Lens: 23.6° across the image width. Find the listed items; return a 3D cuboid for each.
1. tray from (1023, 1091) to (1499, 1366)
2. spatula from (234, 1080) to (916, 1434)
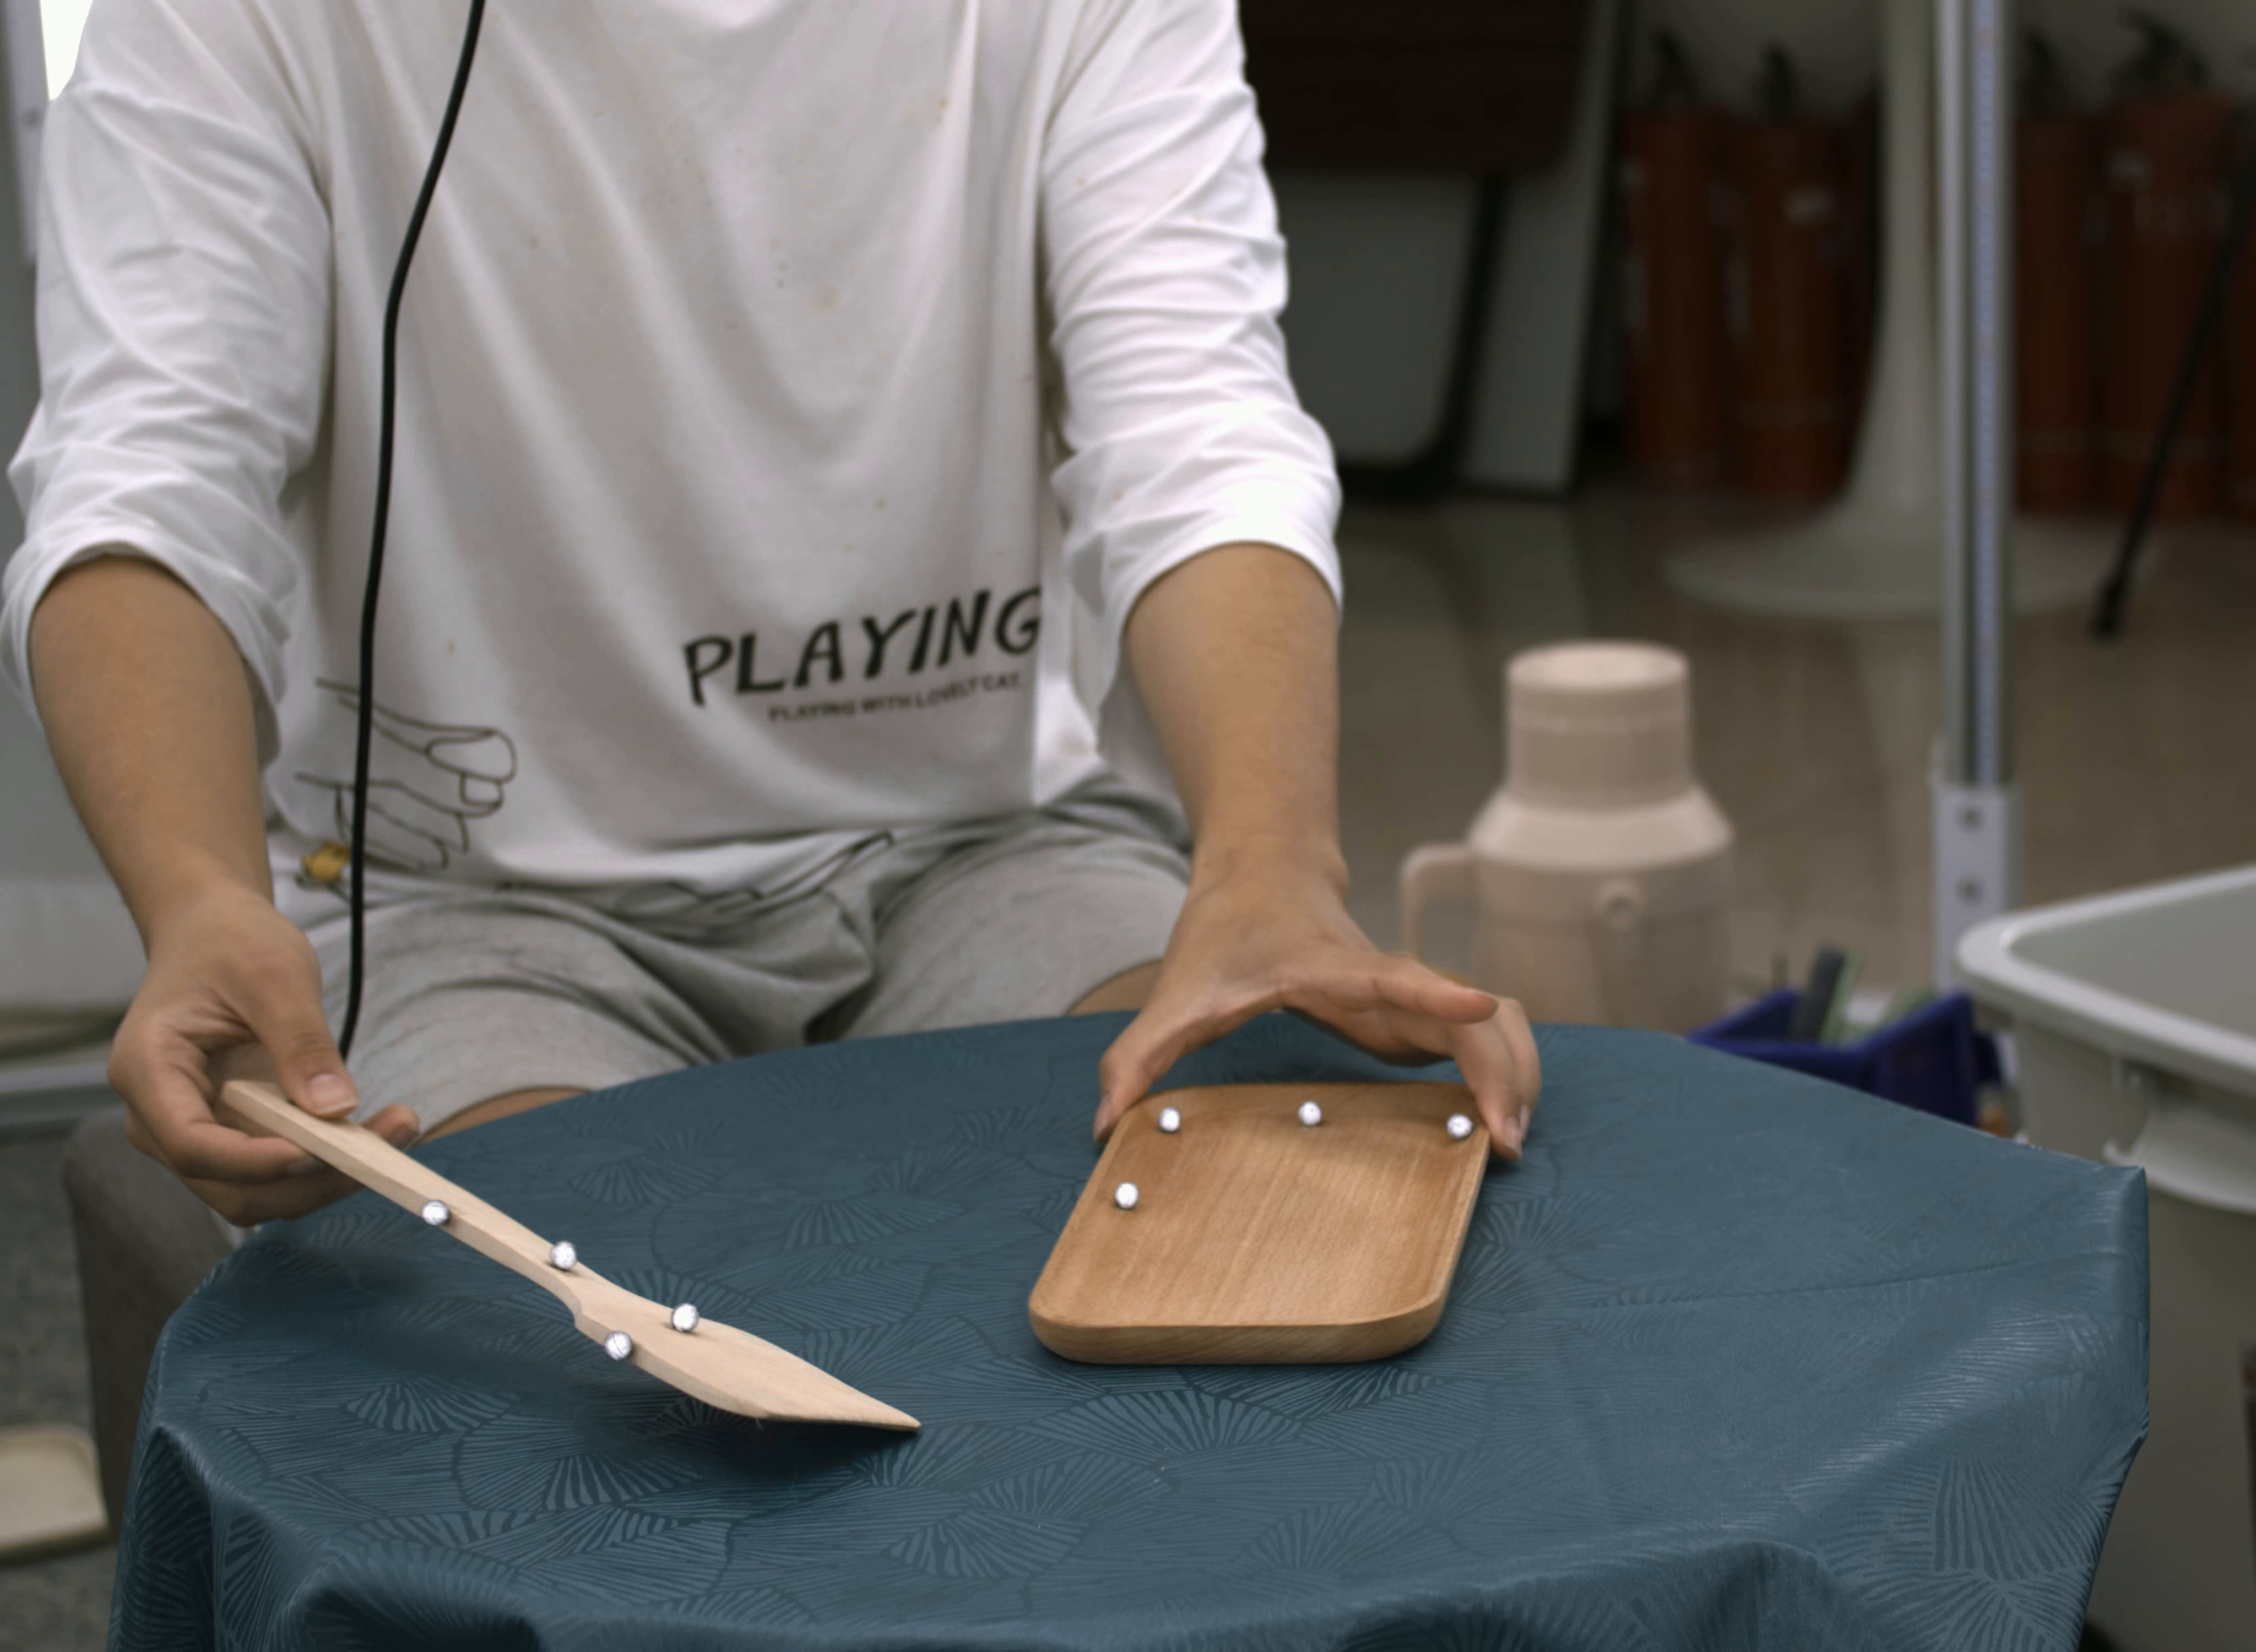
[{"bbox_3d":[0.047,0.125,1.710,0.130,0.023,0.249,-5,13,11],"label":"tray"},{"bbox_3d":[-0.181,0.129,1.637,0.071,0.011,0.296,10,11,-46],"label":"spatula"}]
